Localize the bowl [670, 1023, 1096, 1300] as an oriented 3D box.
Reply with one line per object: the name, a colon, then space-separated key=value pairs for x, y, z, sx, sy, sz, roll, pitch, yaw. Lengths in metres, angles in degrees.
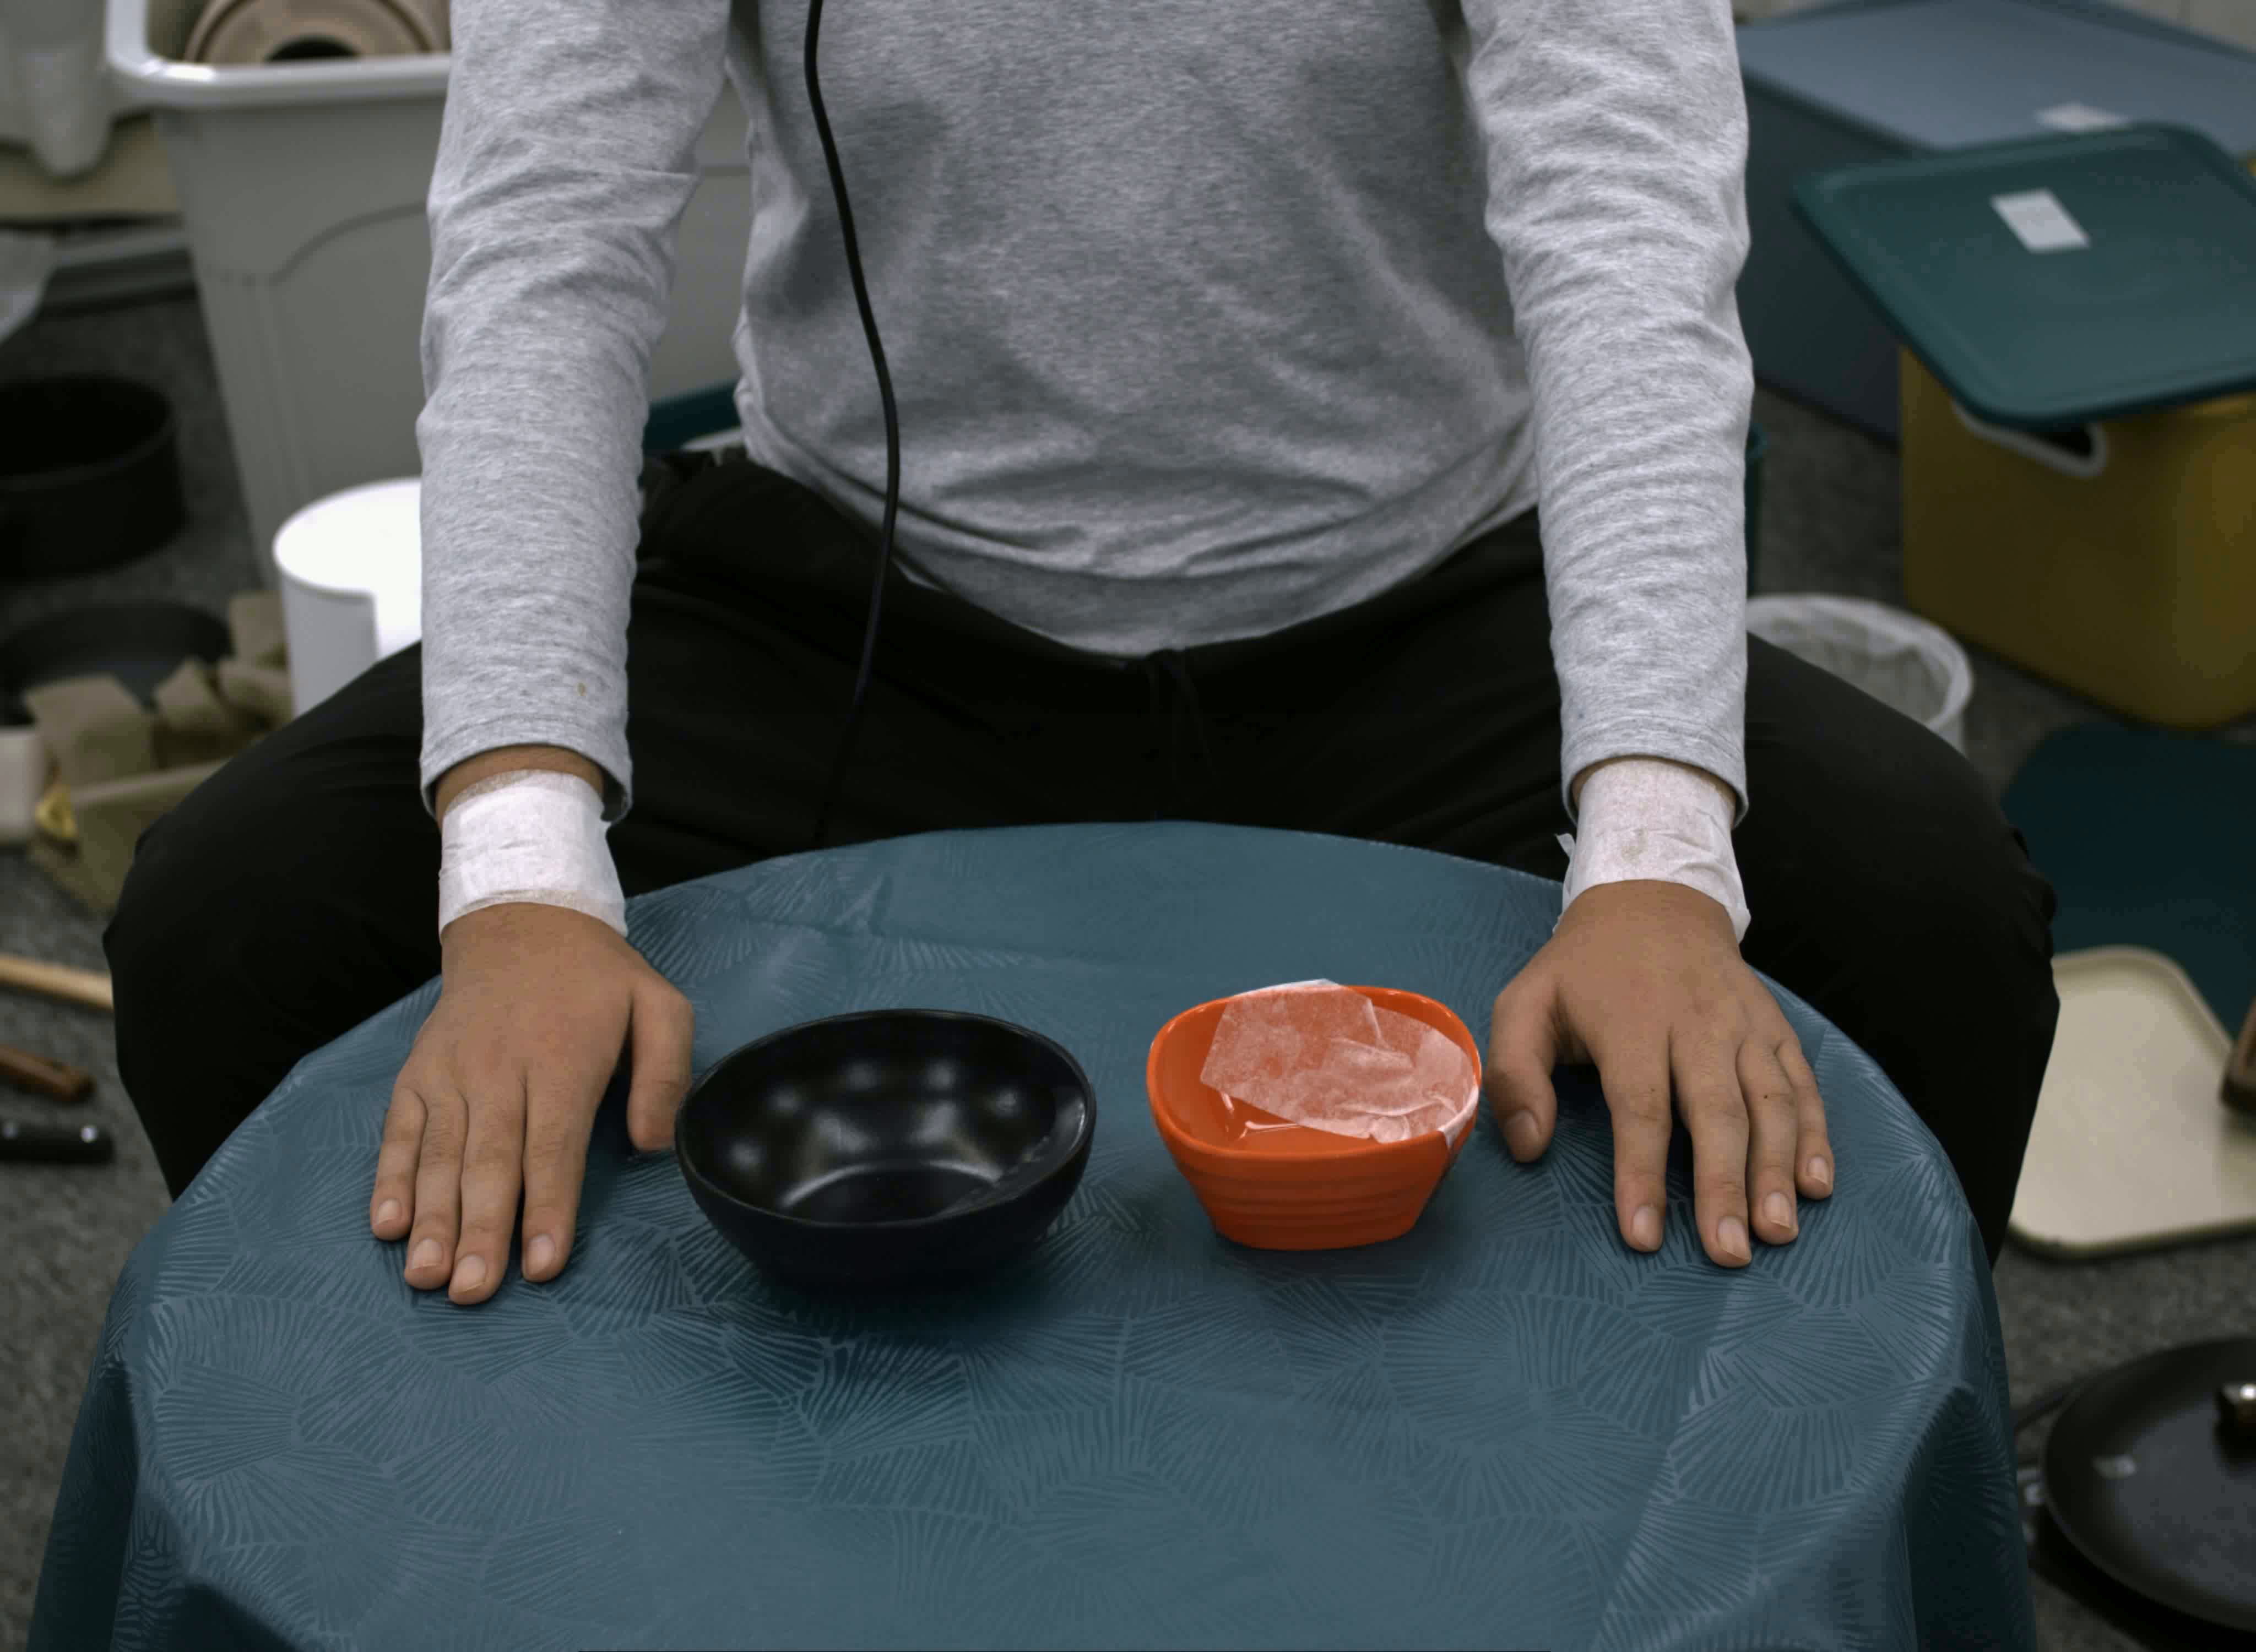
bowl: x=-0.079 y=0.117 z=1.832 sx=0.139 sy=0.049 sz=0.142 roll=-1 pitch=23 yaw=1

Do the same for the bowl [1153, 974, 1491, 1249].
bowl: x=0.064 y=0.099 z=1.840 sx=0.118 sy=0.051 sz=0.121 roll=-3 pitch=30 yaw=2
